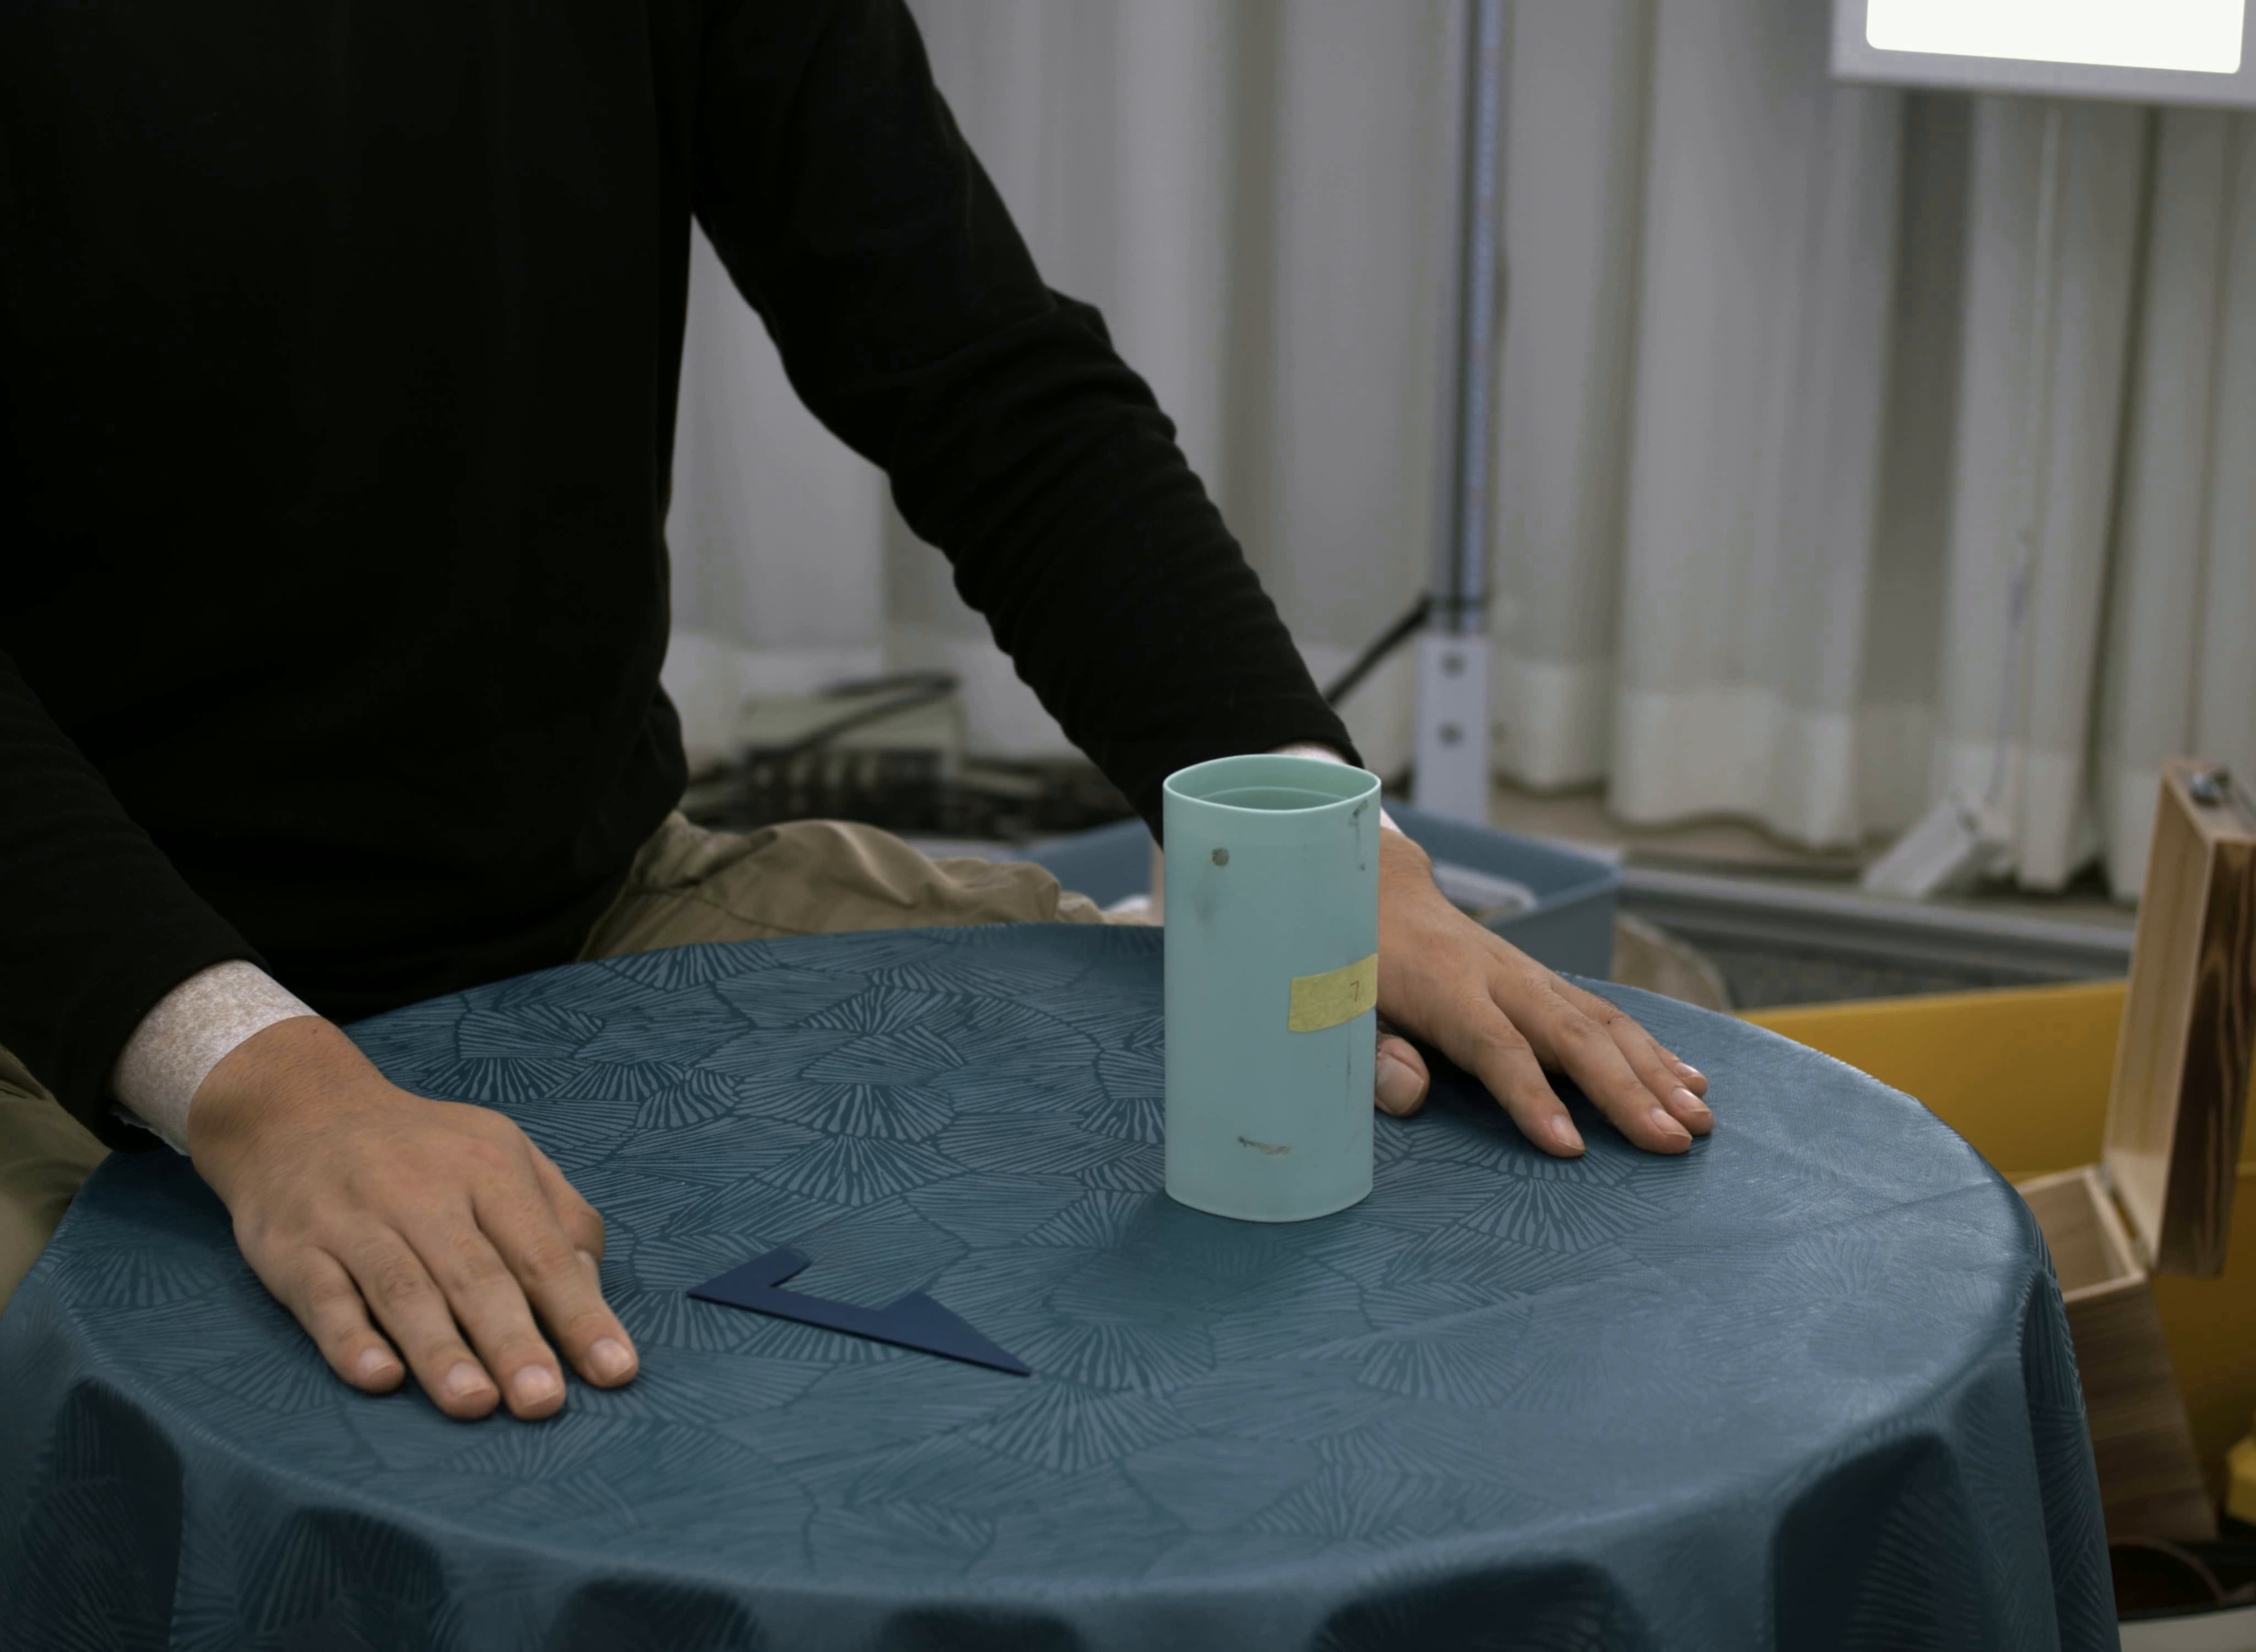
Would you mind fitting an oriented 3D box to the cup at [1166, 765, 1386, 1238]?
[{"bbox_3d":[0.043,0.052,1.607,0.066,0.133,0.066,1,17,0],"label":"cup"}]

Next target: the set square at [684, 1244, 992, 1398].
[{"bbox_3d":[-0.086,0.142,1.502,0.061,0.006,0.130,-5,17,-23],"label":"set square"}]
